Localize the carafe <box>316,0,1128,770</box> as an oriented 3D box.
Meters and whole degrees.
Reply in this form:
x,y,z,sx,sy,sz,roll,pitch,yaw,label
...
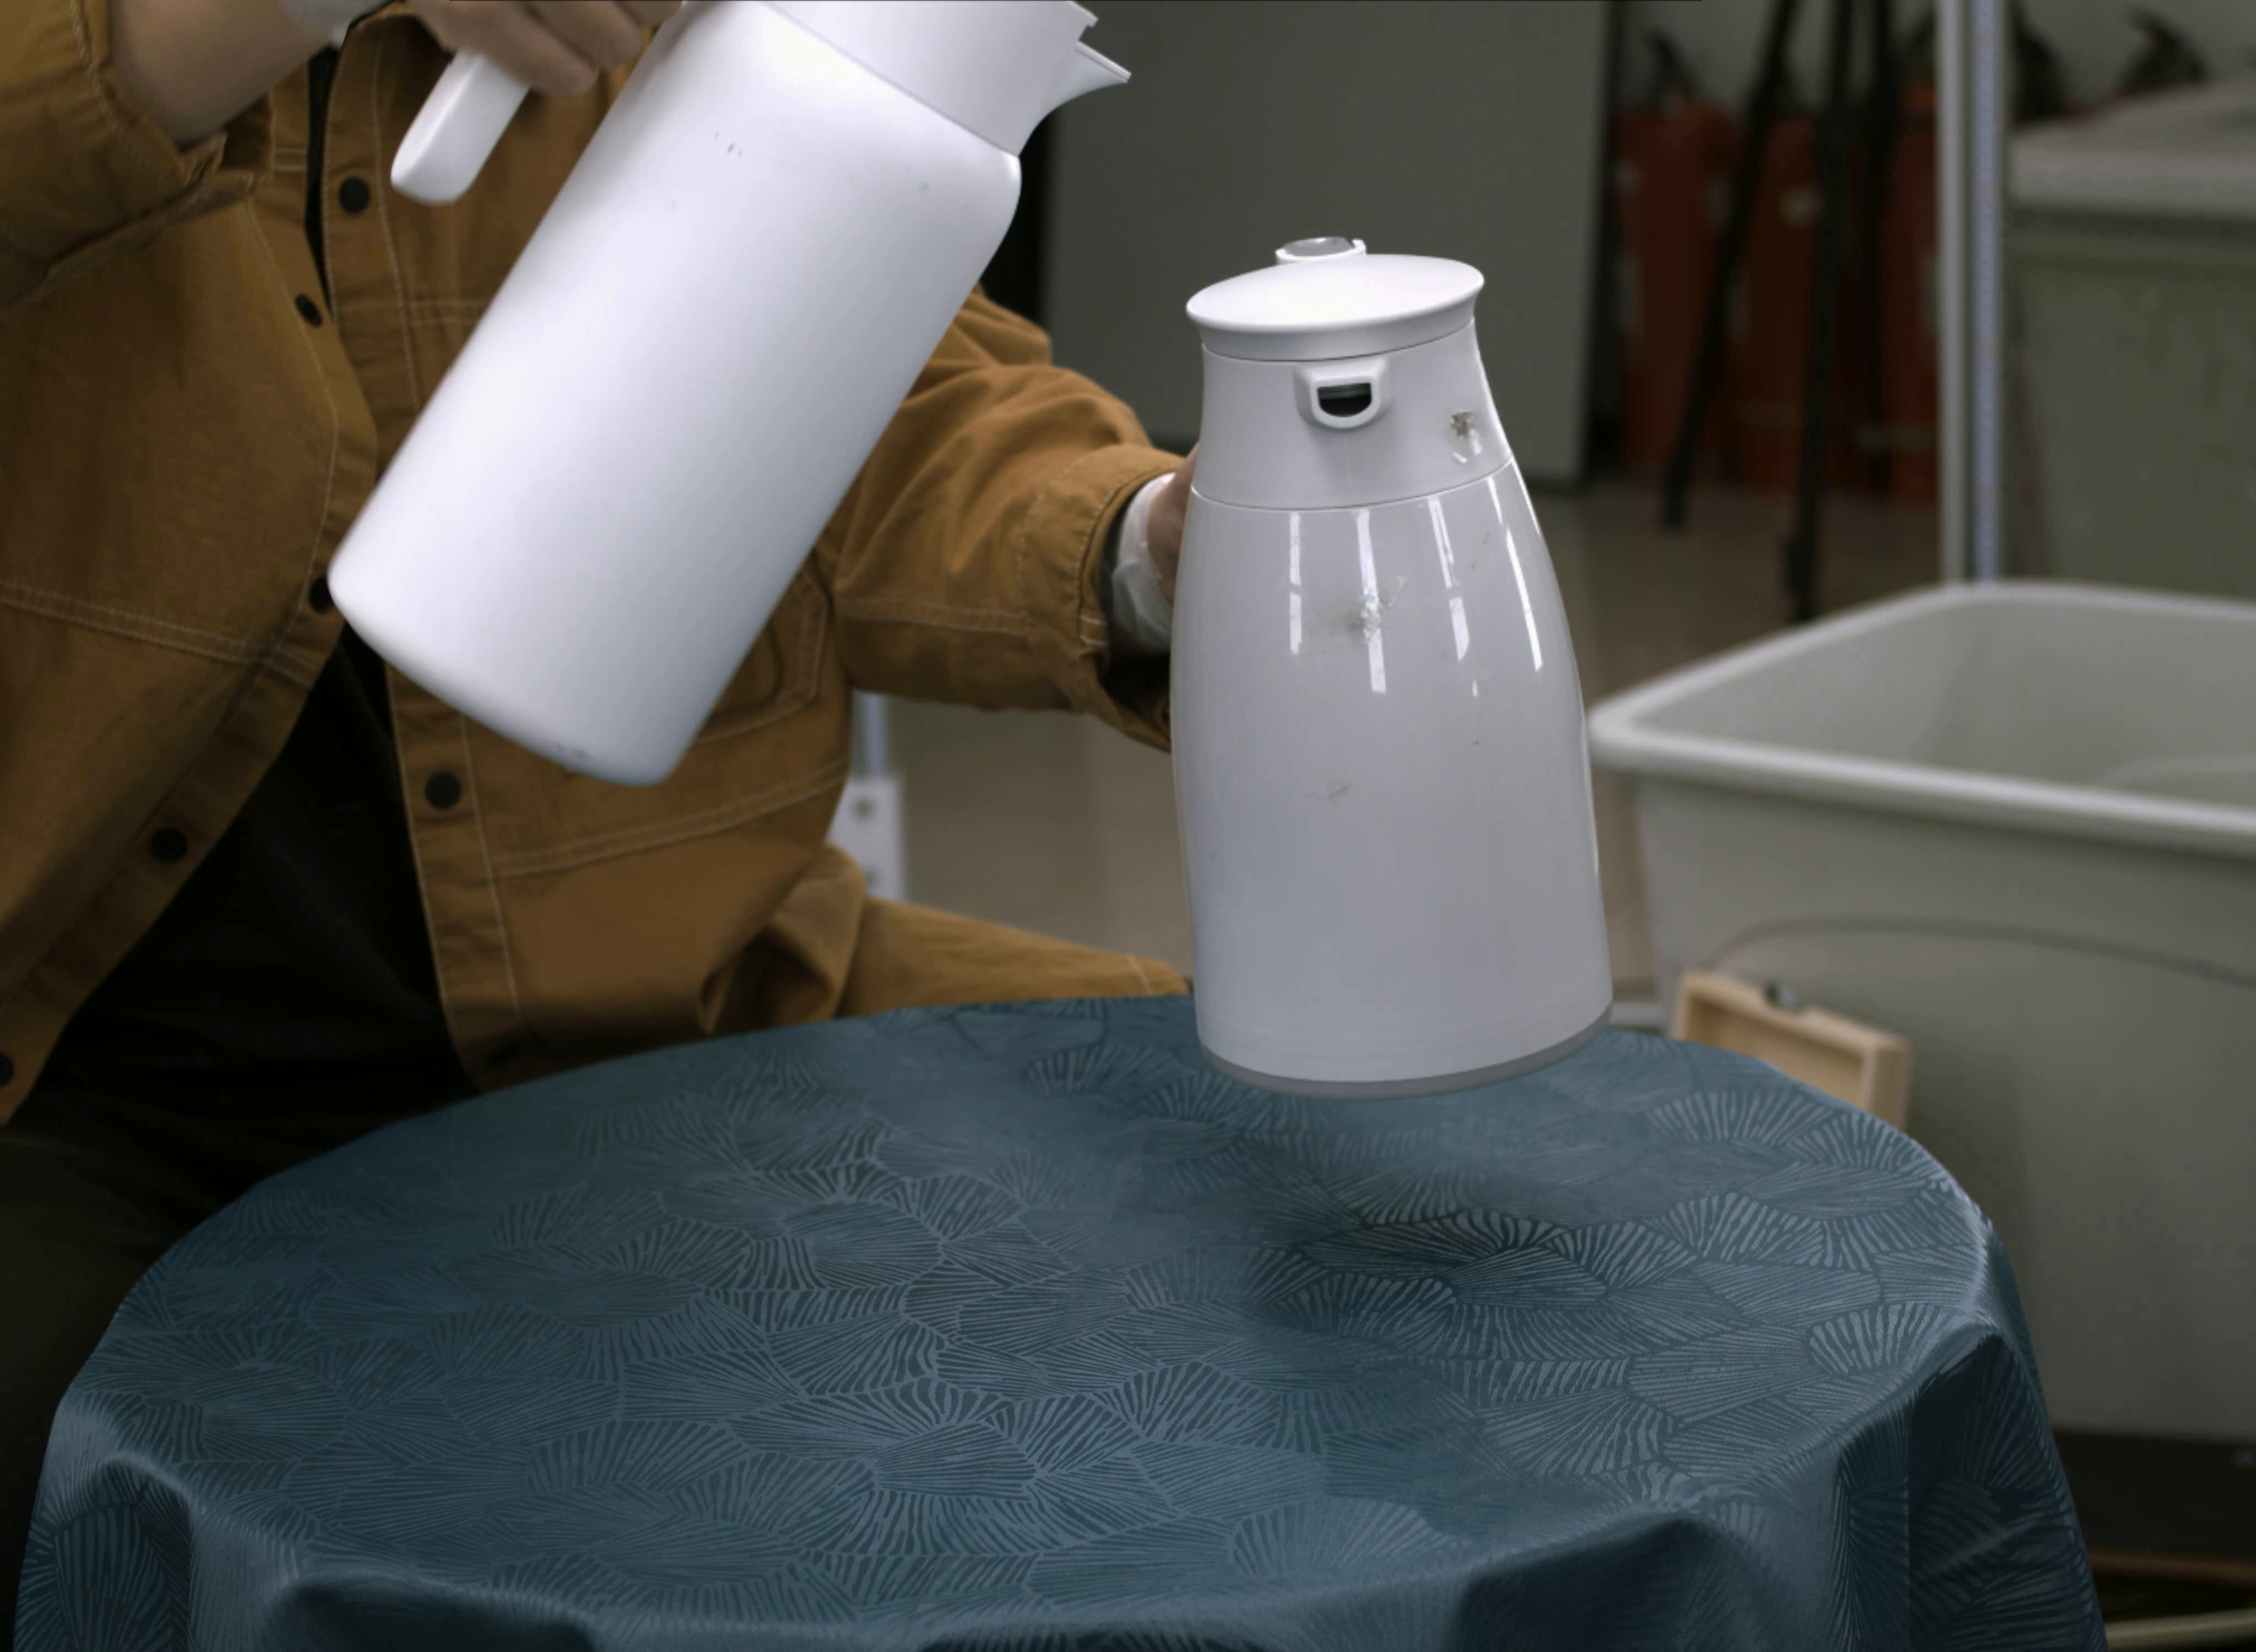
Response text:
x,y,z,sx,sy,sz,roll,pitch,yaw,label
-0.134,-0.164,1.562,0.170,0.271,0.125,29,9,-21,carafe

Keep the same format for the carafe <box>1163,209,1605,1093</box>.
x,y,z,sx,sy,sz,roll,pitch,yaw,label
0.071,-0.062,1.680,0.131,0.251,0.168,-6,16,2,carafe
